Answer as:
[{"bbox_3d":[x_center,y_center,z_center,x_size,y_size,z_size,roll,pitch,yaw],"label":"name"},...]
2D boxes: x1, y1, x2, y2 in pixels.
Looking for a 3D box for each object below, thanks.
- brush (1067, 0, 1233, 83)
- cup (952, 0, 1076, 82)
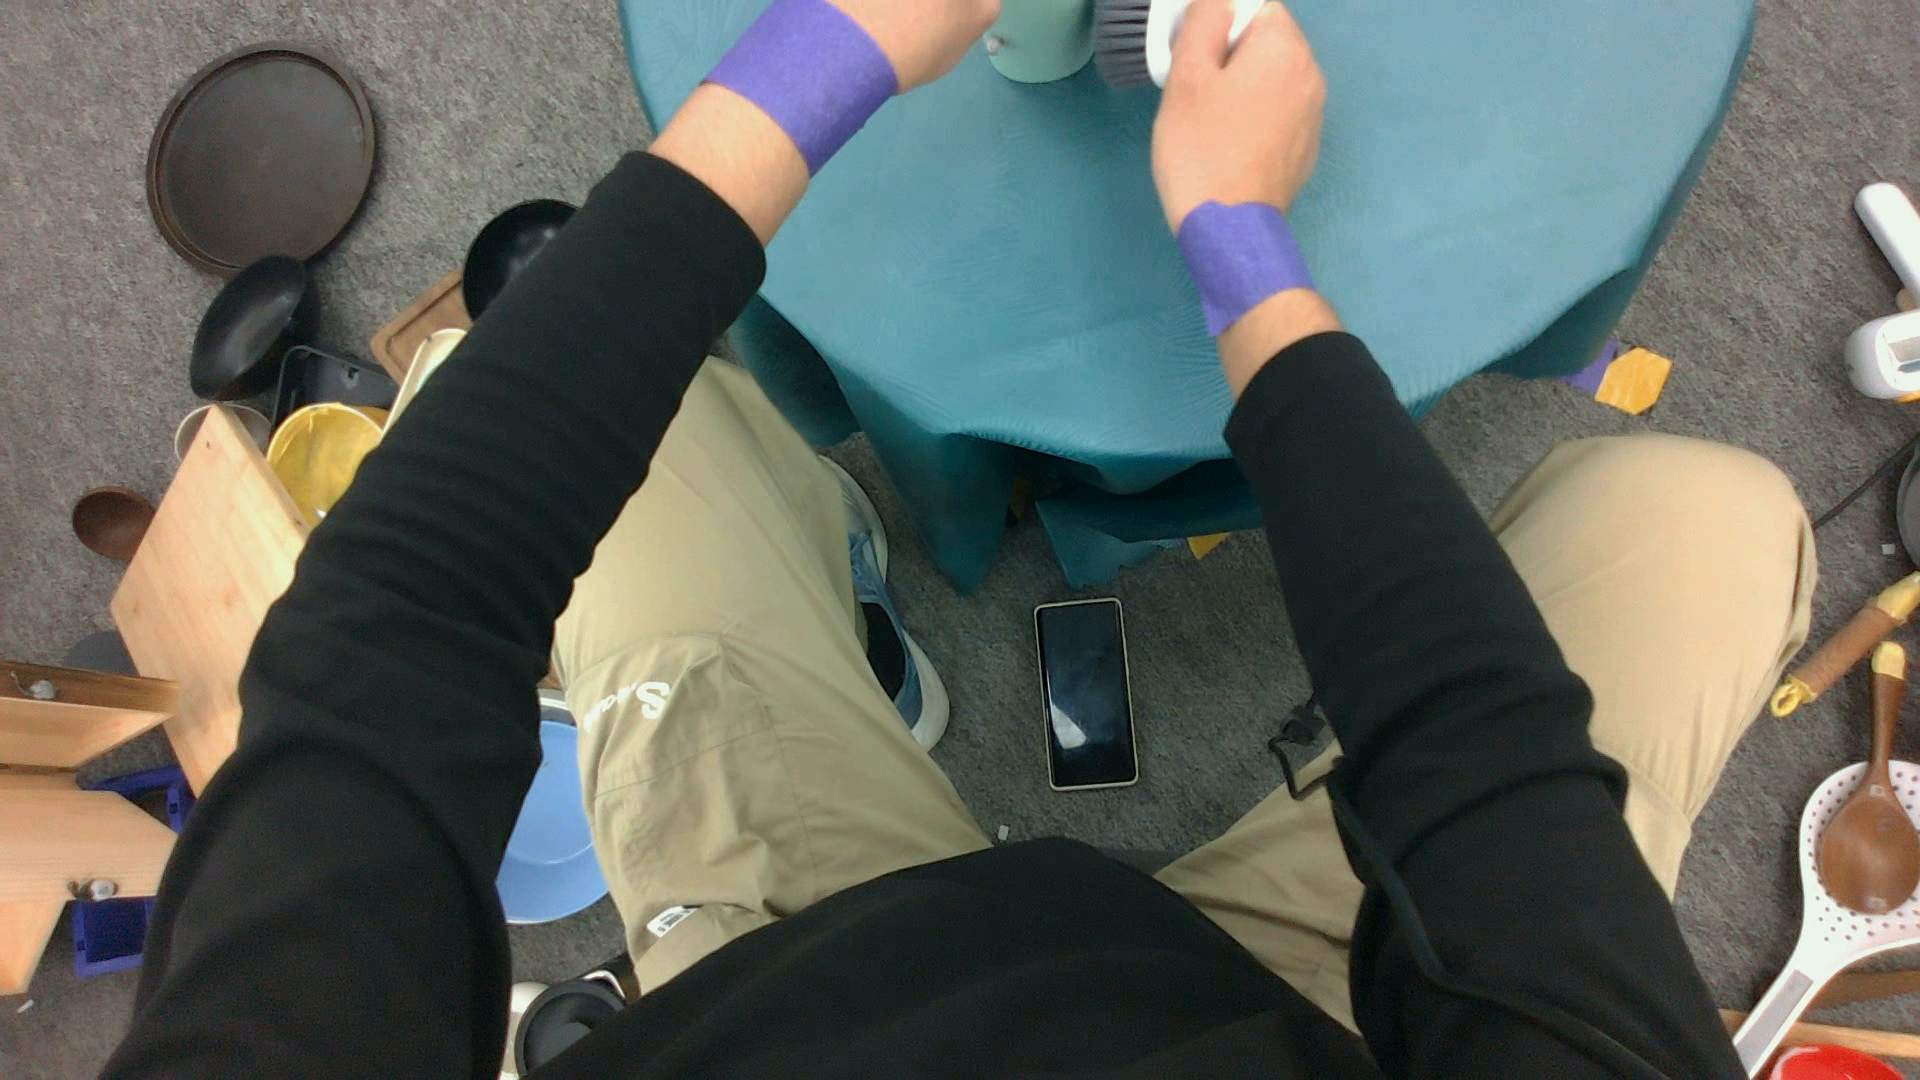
[{"bbox_3d":[0.099,-0.272,0.671,0.072,0.050,0.099,8,81,26],"label":"brush"},{"bbox_3d":[0.025,-0.283,0.675,0.066,0.132,0.067,-1,82,7],"label":"cup"}]
